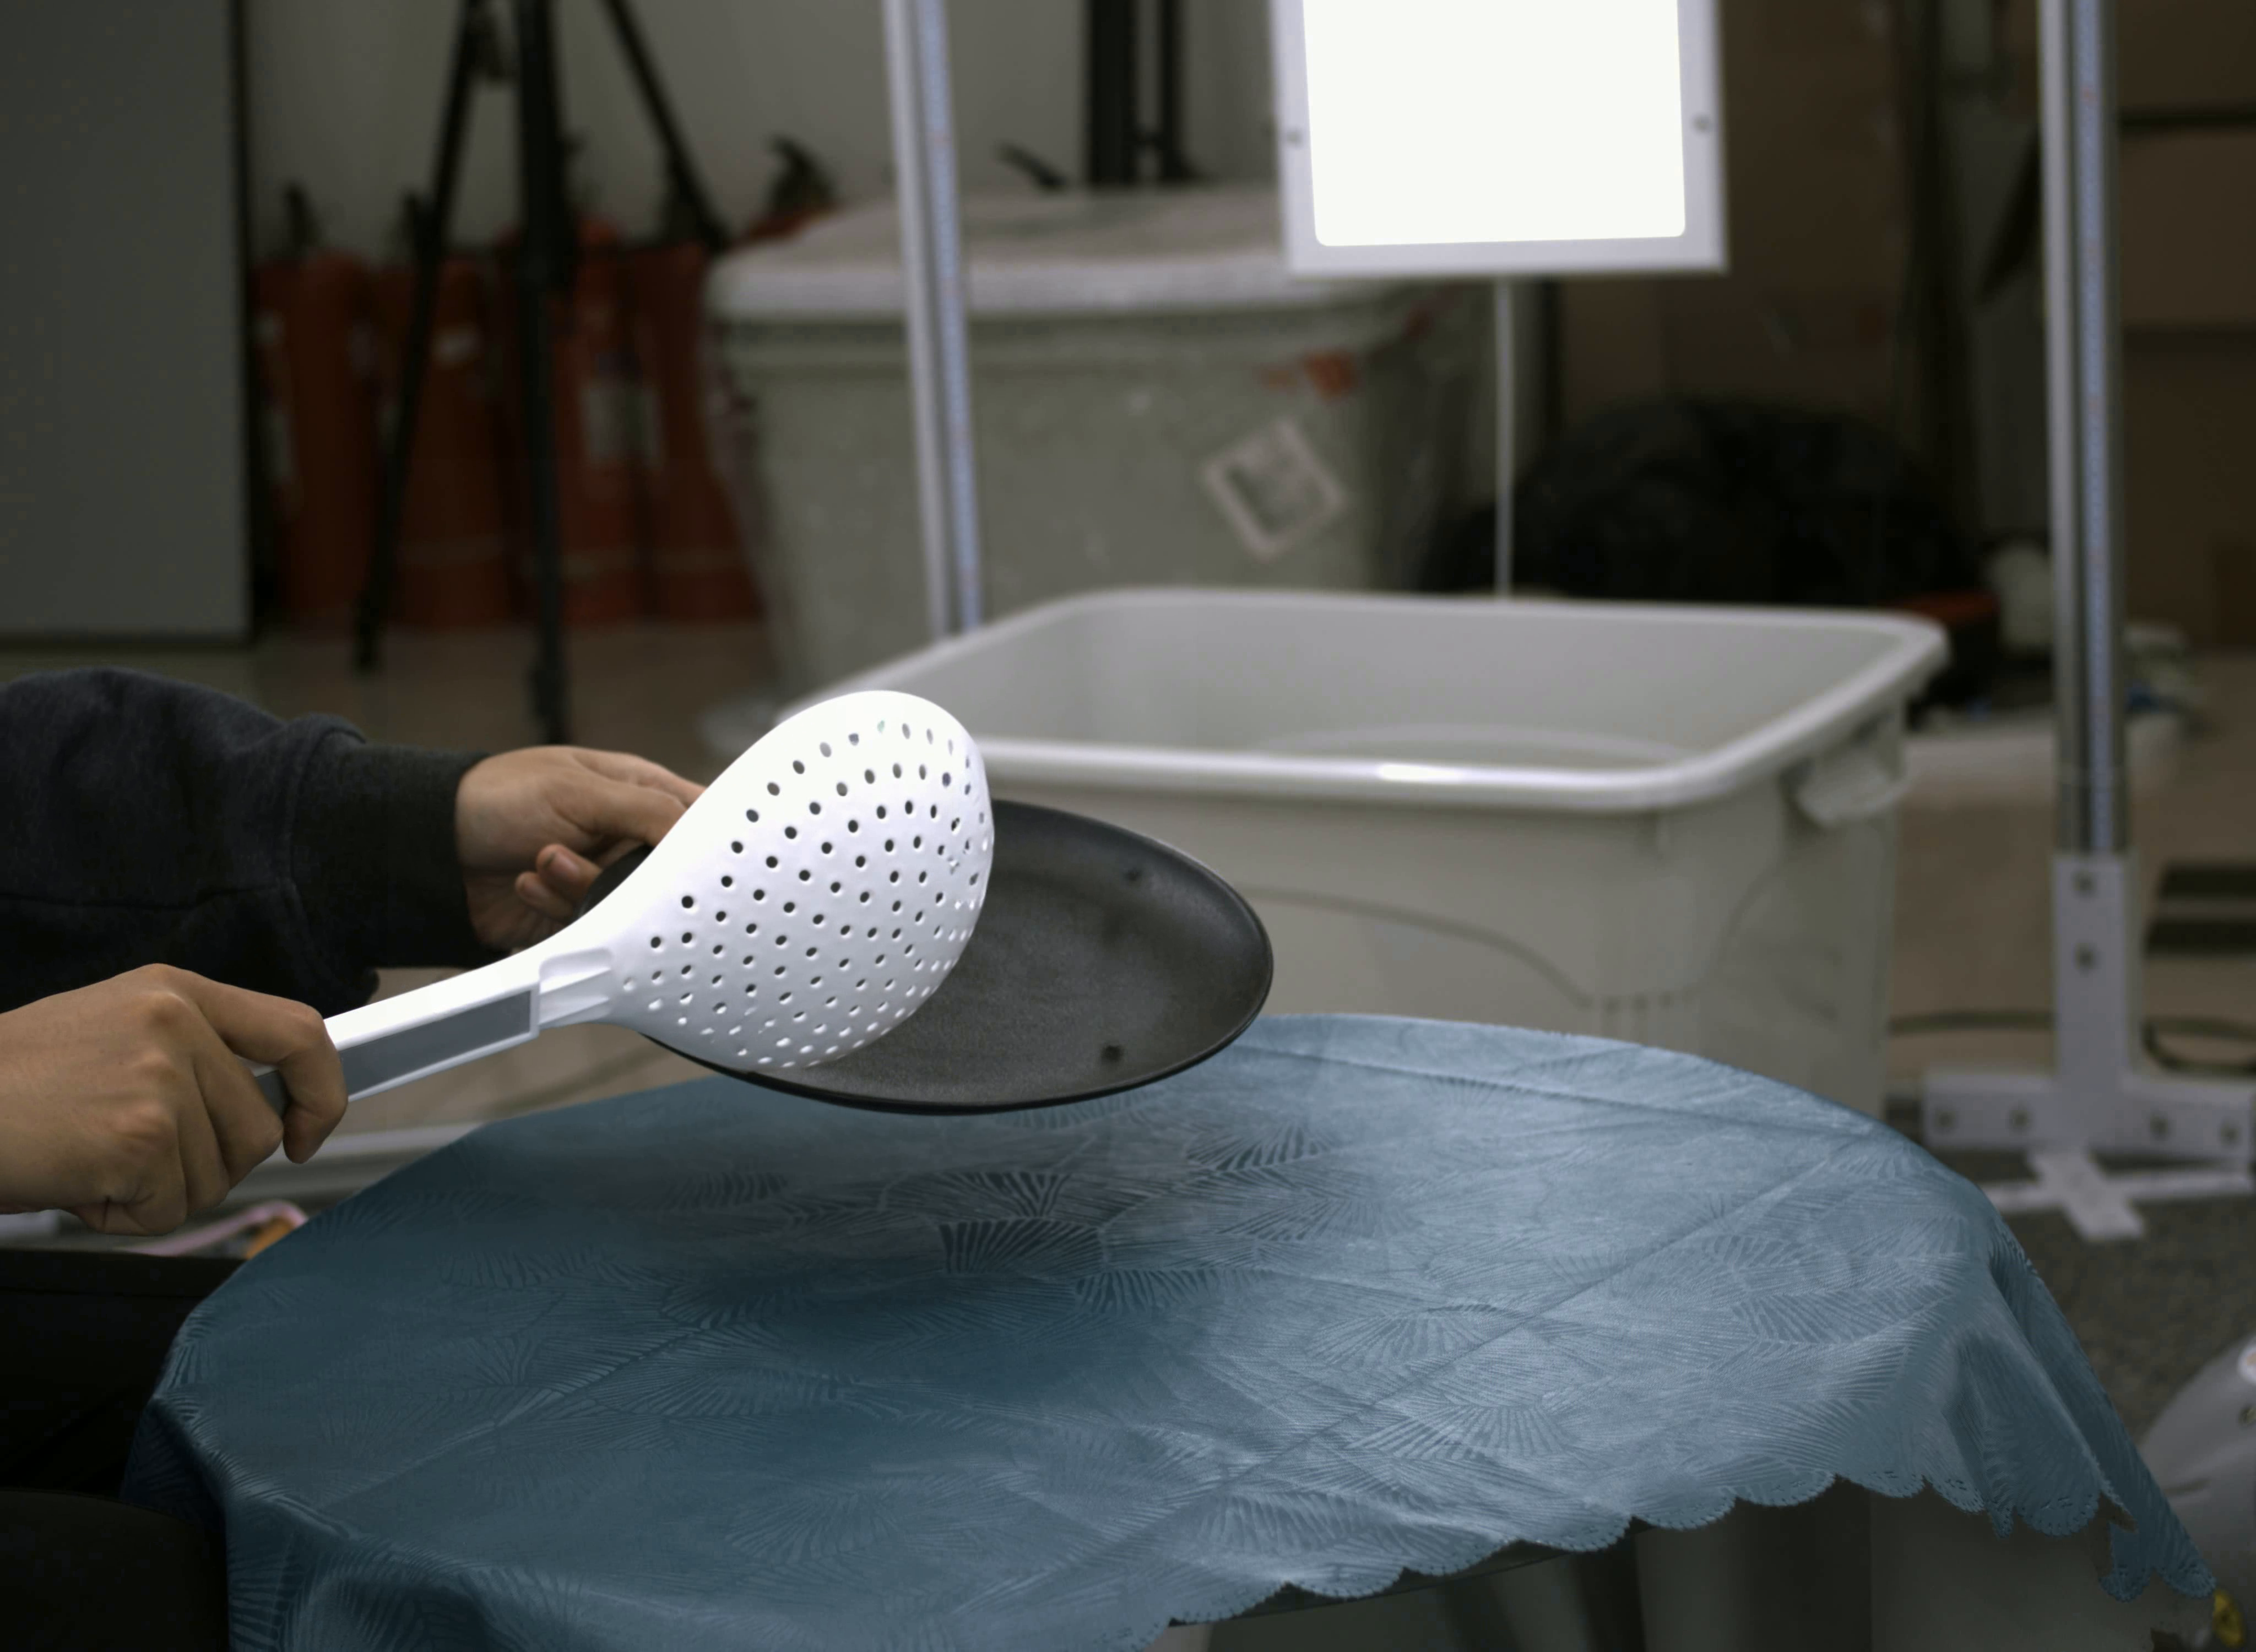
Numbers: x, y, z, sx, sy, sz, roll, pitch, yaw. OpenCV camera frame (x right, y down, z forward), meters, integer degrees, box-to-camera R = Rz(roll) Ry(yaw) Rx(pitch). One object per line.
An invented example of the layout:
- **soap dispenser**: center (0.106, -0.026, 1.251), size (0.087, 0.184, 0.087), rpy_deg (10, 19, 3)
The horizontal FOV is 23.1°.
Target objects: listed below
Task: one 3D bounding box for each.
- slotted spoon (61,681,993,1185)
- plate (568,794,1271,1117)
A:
- **slotted spoon**: center (-0.177, 0.047, 1.728), size (0.342, 0.137, 0.046), rpy_deg (-16, 33, -29)
- **plate**: center (-0.072, 0.048, 1.904), size (0.243, 0.023, 0.244), rpy_deg (2, 25, -2)
